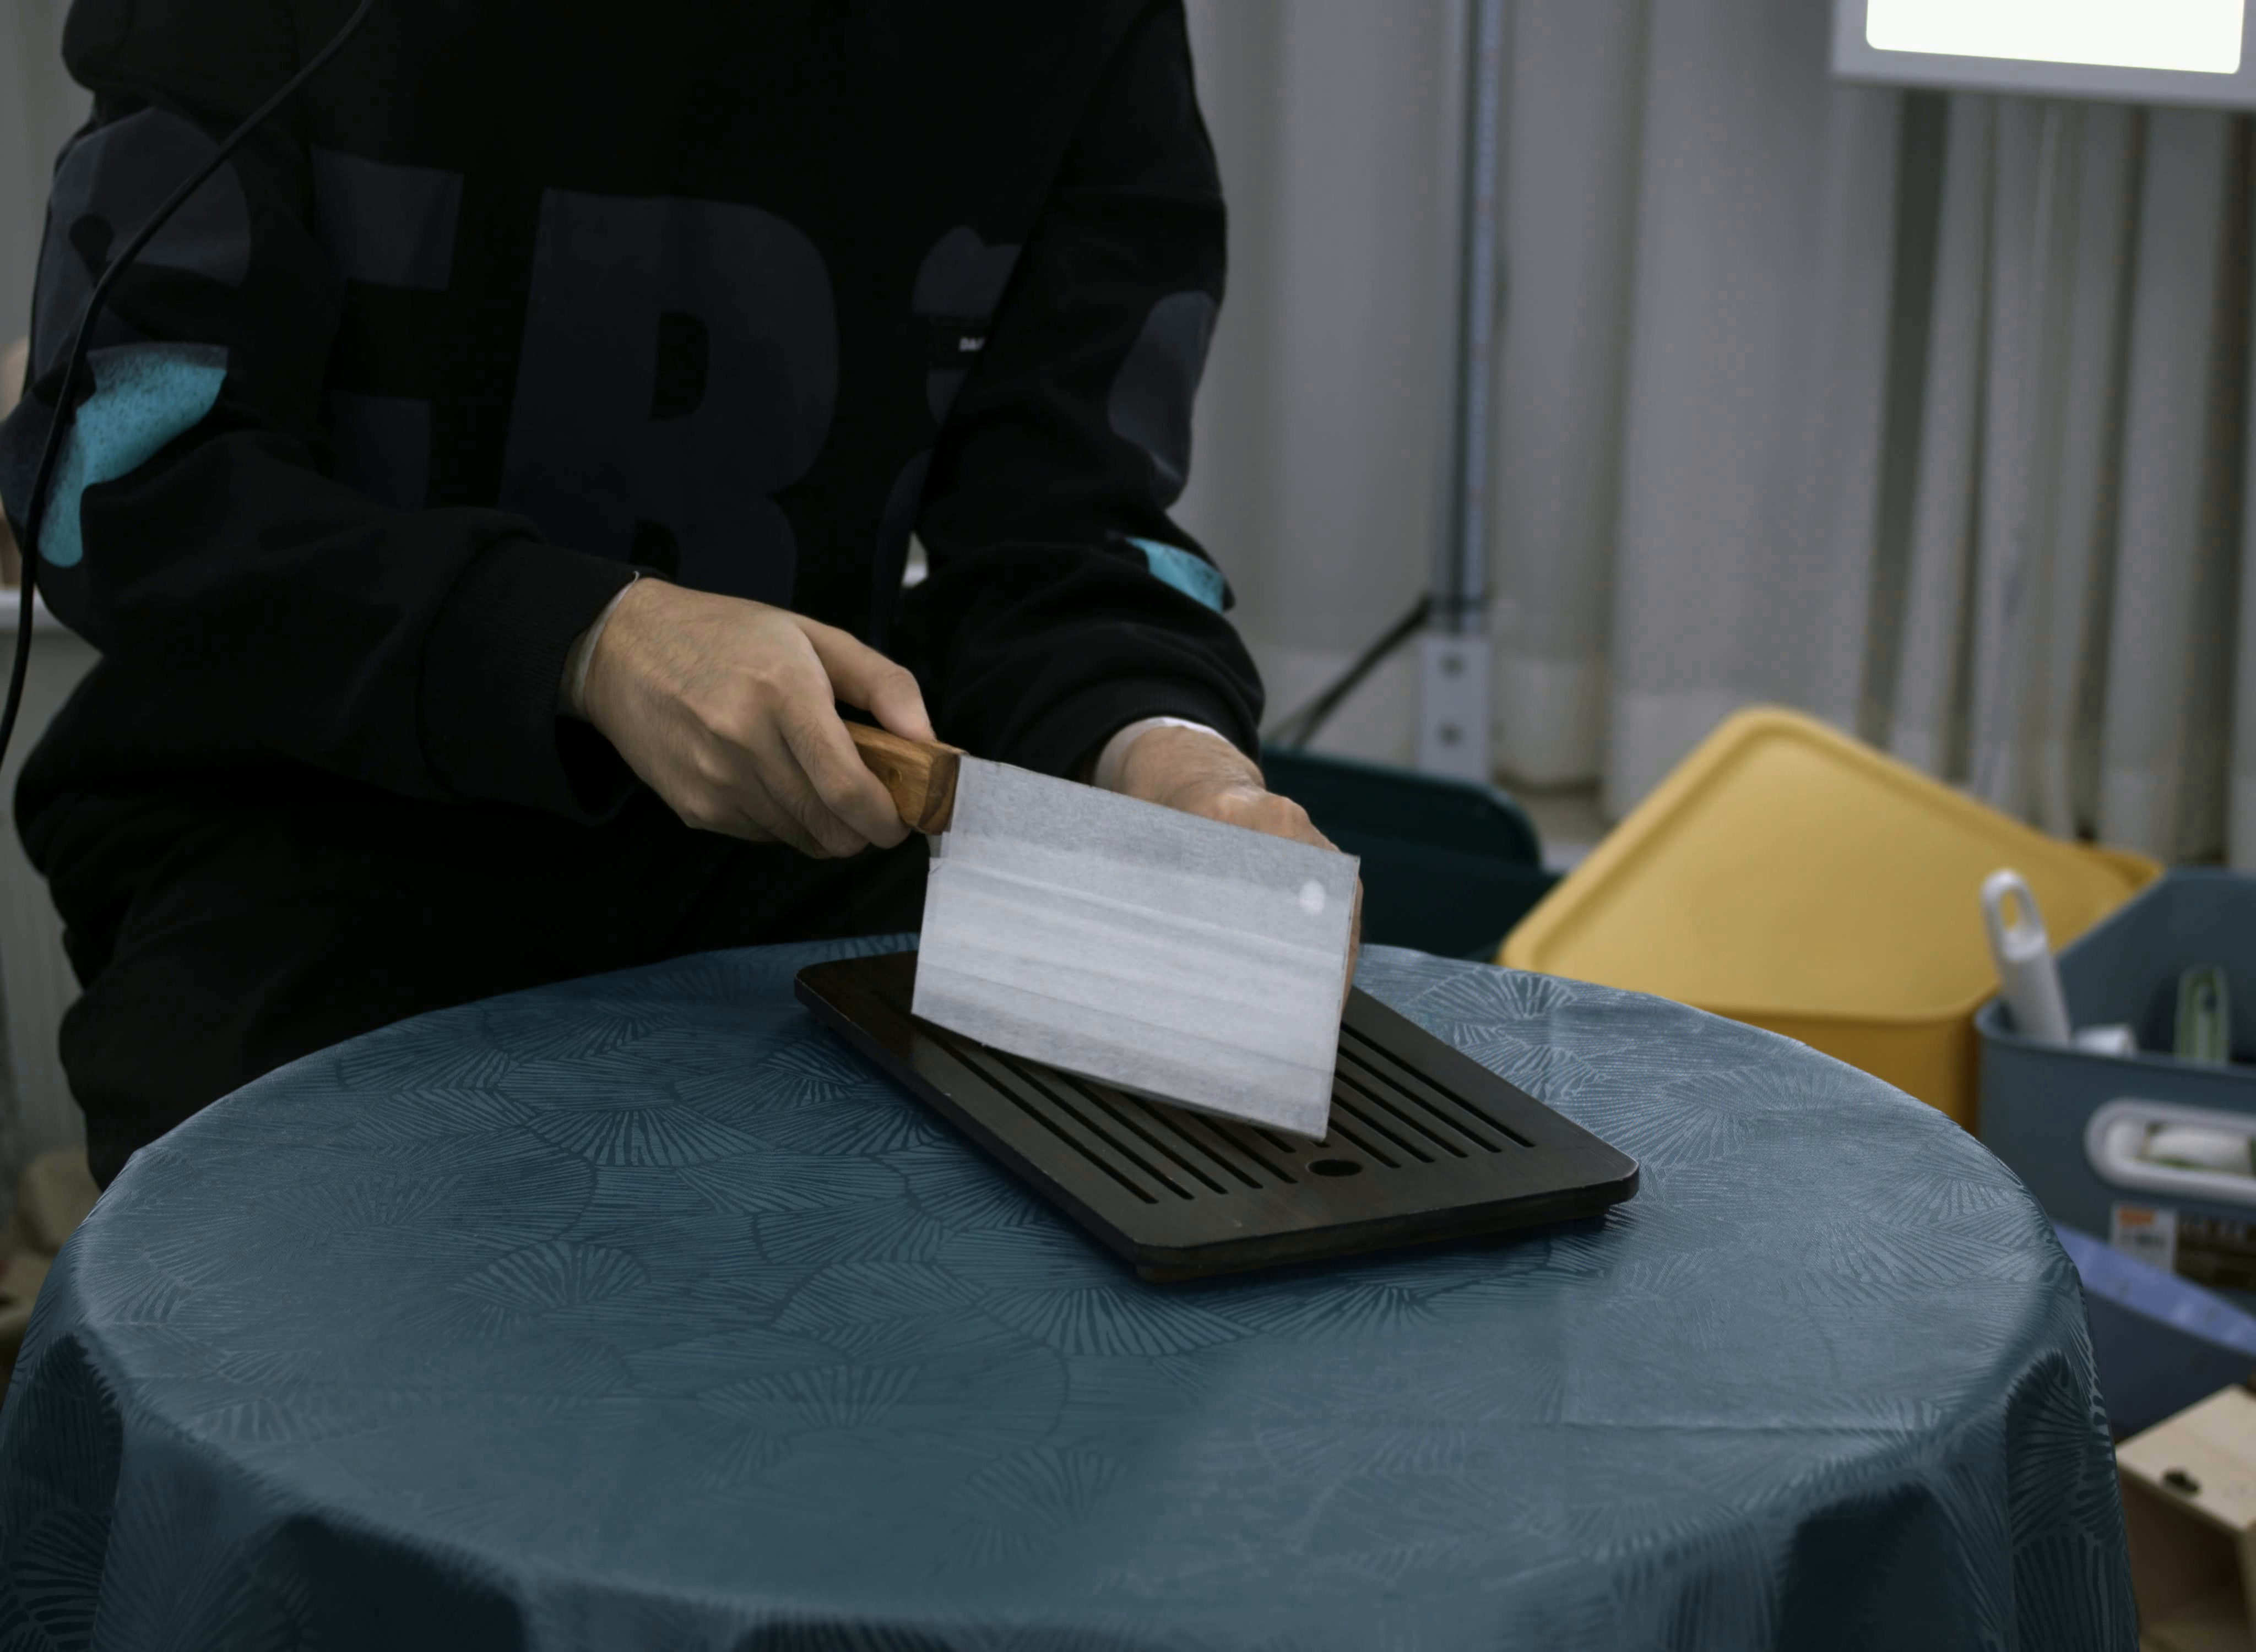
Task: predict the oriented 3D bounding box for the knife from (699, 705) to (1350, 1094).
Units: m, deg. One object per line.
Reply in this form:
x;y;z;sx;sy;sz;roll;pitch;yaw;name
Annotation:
-0.040;0.024;1.693;0.021;0.093;0.301;-1;12;-45;knife

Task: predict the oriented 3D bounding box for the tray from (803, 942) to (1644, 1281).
0.023;0.083;1.693;0.170;0.019;0.302;-6;17;-23;tray
